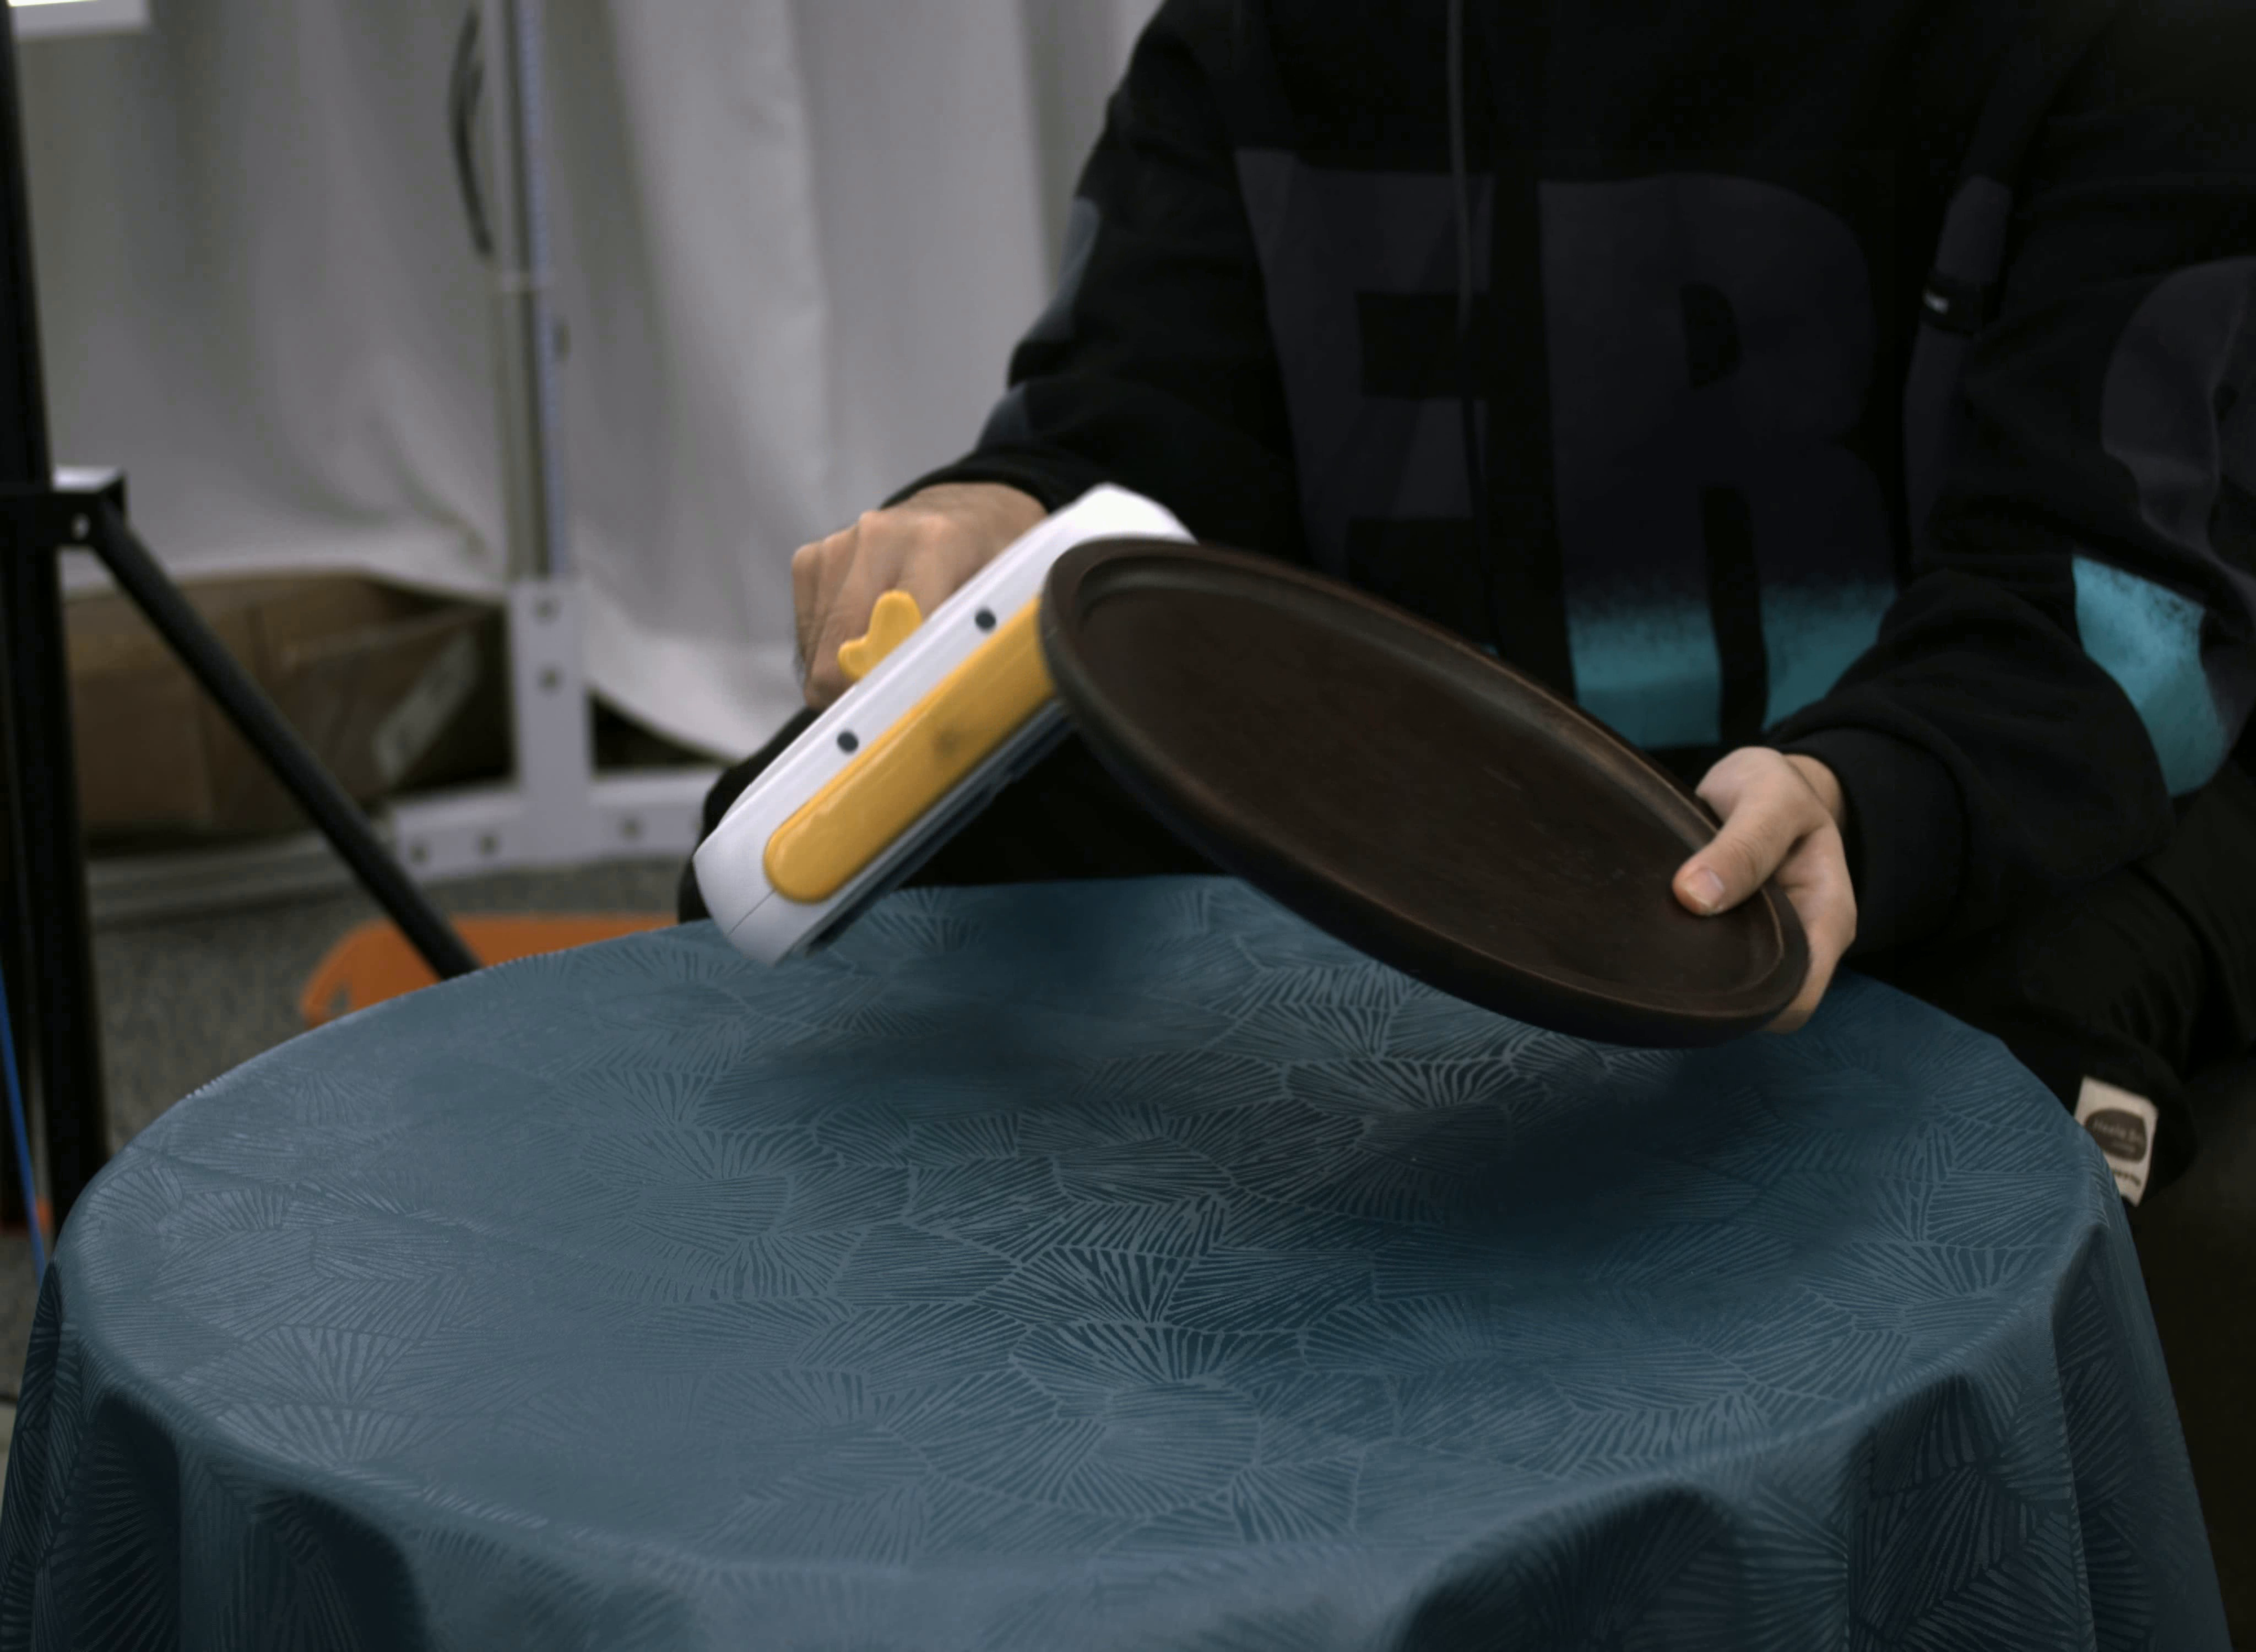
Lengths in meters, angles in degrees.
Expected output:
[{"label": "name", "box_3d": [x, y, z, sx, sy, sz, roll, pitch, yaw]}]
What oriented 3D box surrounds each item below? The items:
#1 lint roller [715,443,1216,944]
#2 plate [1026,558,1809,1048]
[{"label": "lint roller", "box_3d": [-0.062, -0.049, 1.736, 0.193, 0.074, 0.193, -48, 6, -1]}, {"label": "plate", "box_3d": [0.083, -0.008, 1.557, 0.252, 0.029, 0.256, 23, 20, -10]}]
